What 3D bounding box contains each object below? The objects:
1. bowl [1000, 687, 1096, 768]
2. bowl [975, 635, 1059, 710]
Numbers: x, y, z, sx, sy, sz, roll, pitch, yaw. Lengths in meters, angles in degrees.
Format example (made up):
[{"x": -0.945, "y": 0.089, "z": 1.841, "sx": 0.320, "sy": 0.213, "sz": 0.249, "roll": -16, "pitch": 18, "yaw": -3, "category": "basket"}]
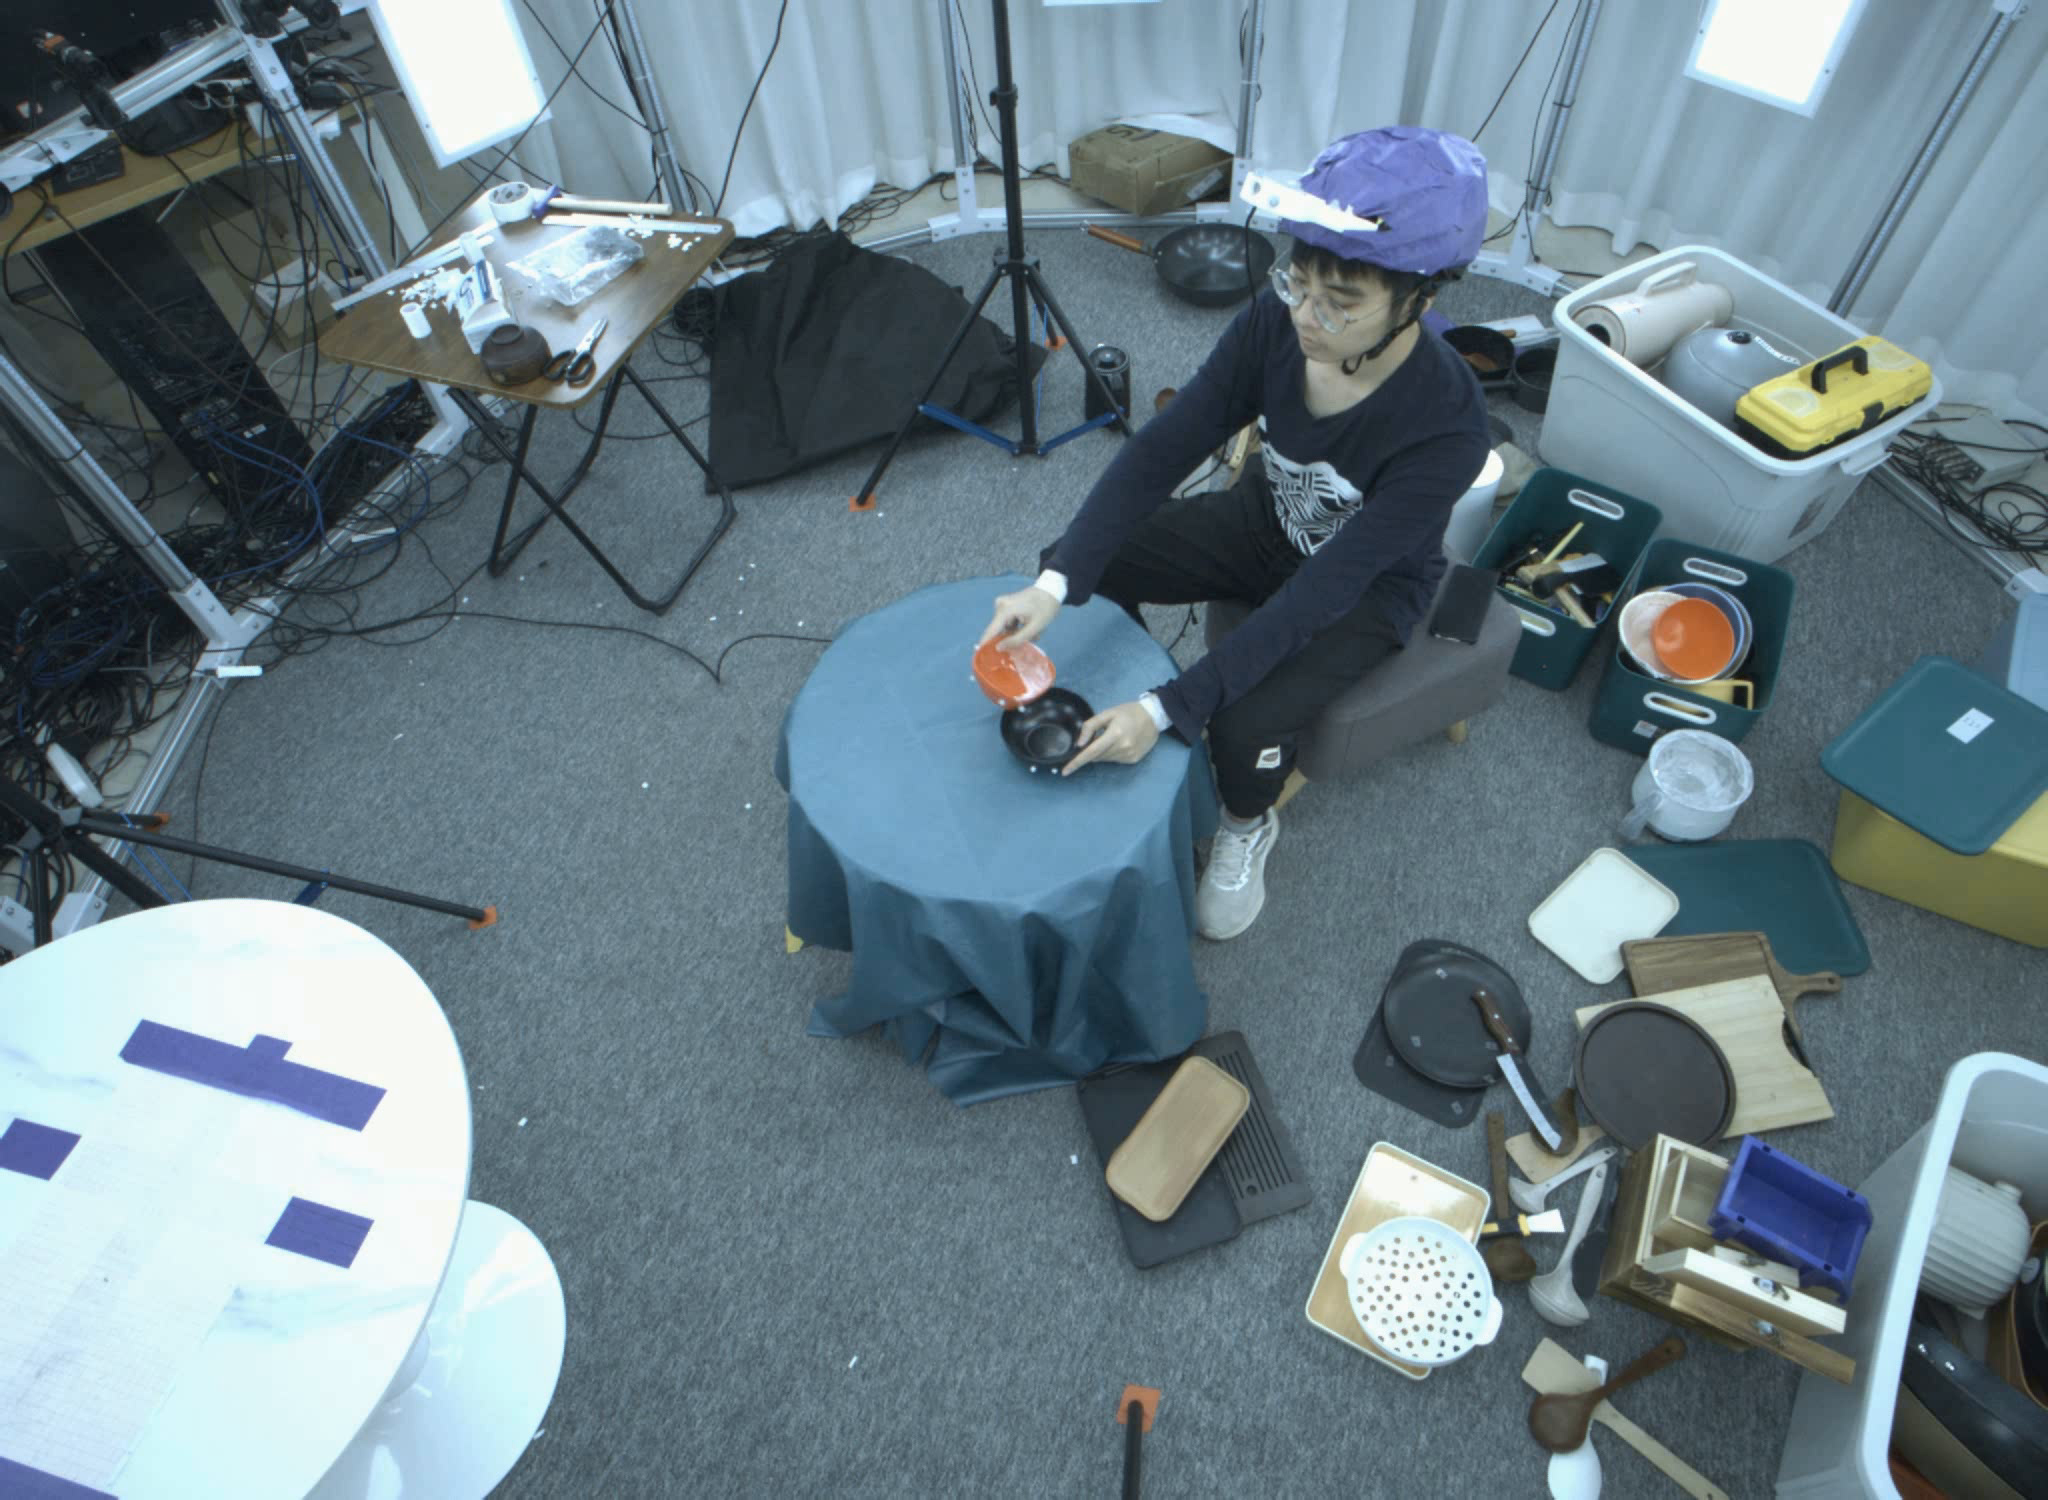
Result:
[{"x": 0.034, "y": -0.024, "z": 1.783, "sx": 0.140, "sy": 0.050, "sz": 0.138, "roll": 2, "pitch": 52, "yaw": -1, "category": "bowl"}, {"x": -0.015, "y": -0.101, "z": 1.718, "sx": 0.120, "sy": 0.051, "sz": 0.117, "roll": 11, "pitch": 50, "yaw": -13, "category": "bowl"}]
